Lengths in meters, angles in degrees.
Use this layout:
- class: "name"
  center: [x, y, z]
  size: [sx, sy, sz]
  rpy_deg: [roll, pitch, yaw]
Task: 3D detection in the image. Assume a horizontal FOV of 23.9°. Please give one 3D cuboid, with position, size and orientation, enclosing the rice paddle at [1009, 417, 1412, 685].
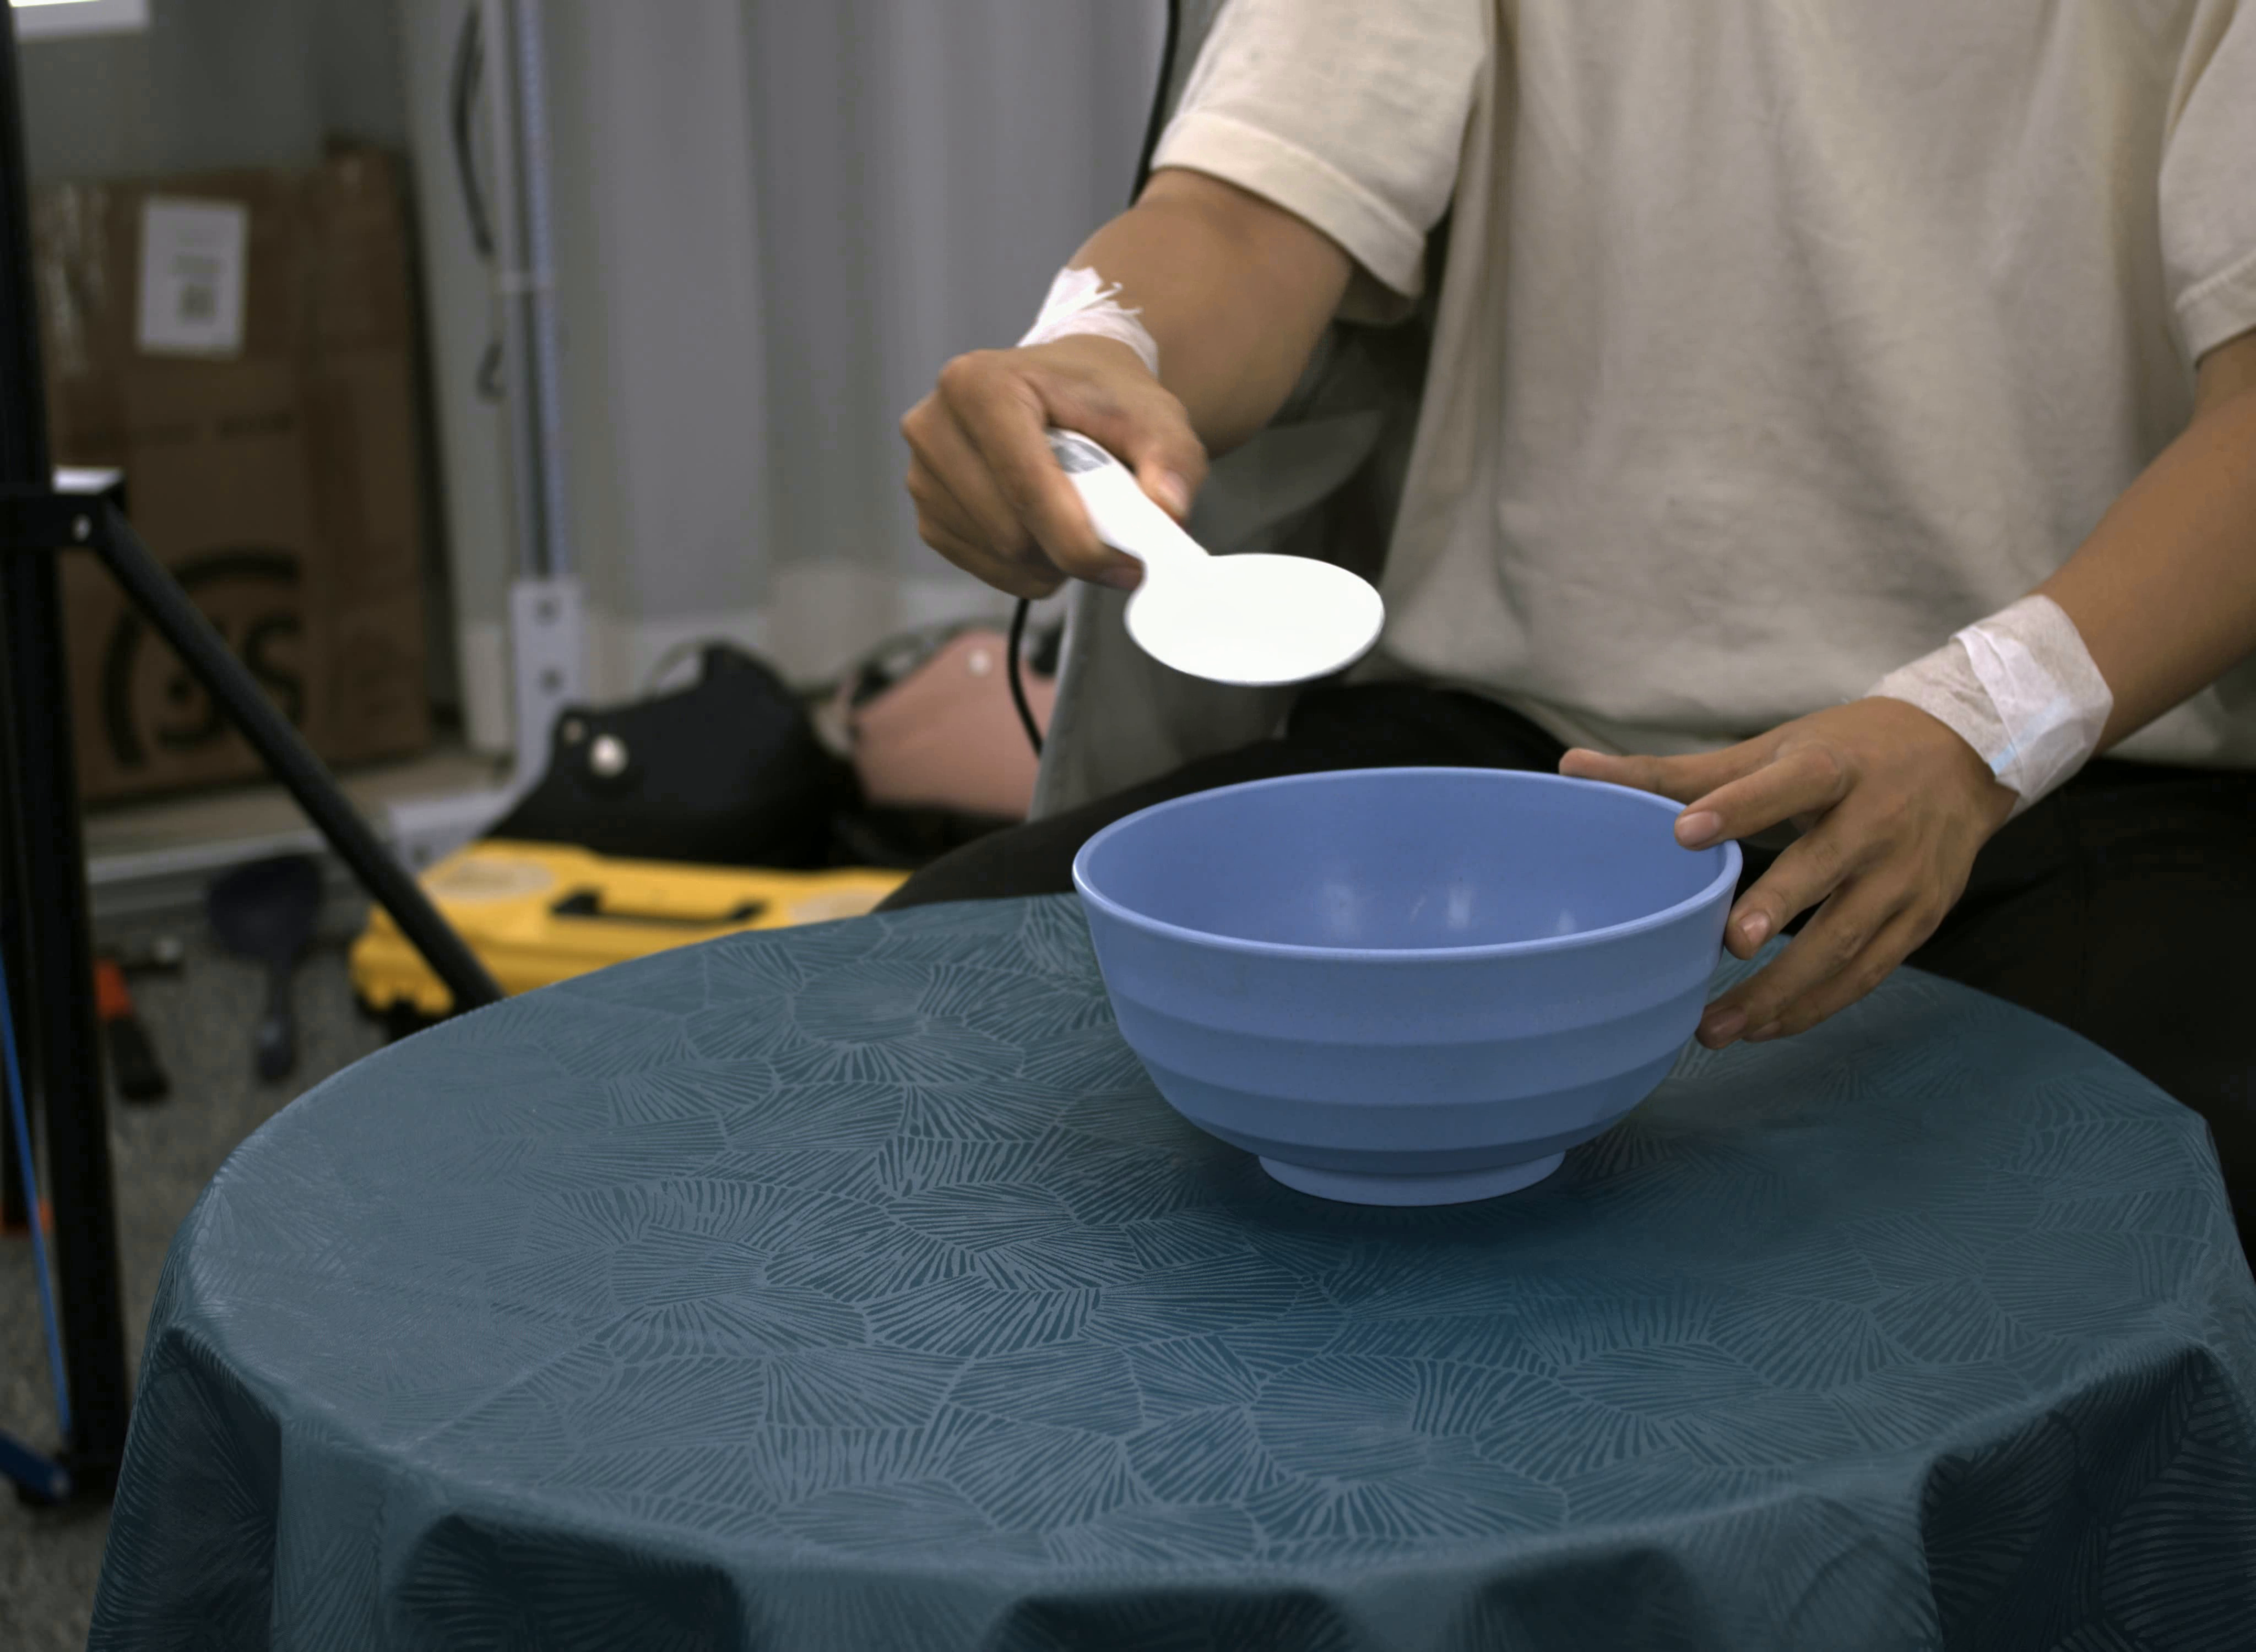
- class: "rice paddle"
  center: [0.020, -0.080, 1.573]
  size: [0.068, 0.029, 0.209]
  rpy_deg: [-21, 27, -17]

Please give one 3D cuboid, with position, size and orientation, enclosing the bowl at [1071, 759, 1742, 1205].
- class: "bowl"
  center: [0.083, 0.052, 1.564]
  size: [0.195, 0.095, 0.197]
  rpy_deg: [-4, 17, 0]
